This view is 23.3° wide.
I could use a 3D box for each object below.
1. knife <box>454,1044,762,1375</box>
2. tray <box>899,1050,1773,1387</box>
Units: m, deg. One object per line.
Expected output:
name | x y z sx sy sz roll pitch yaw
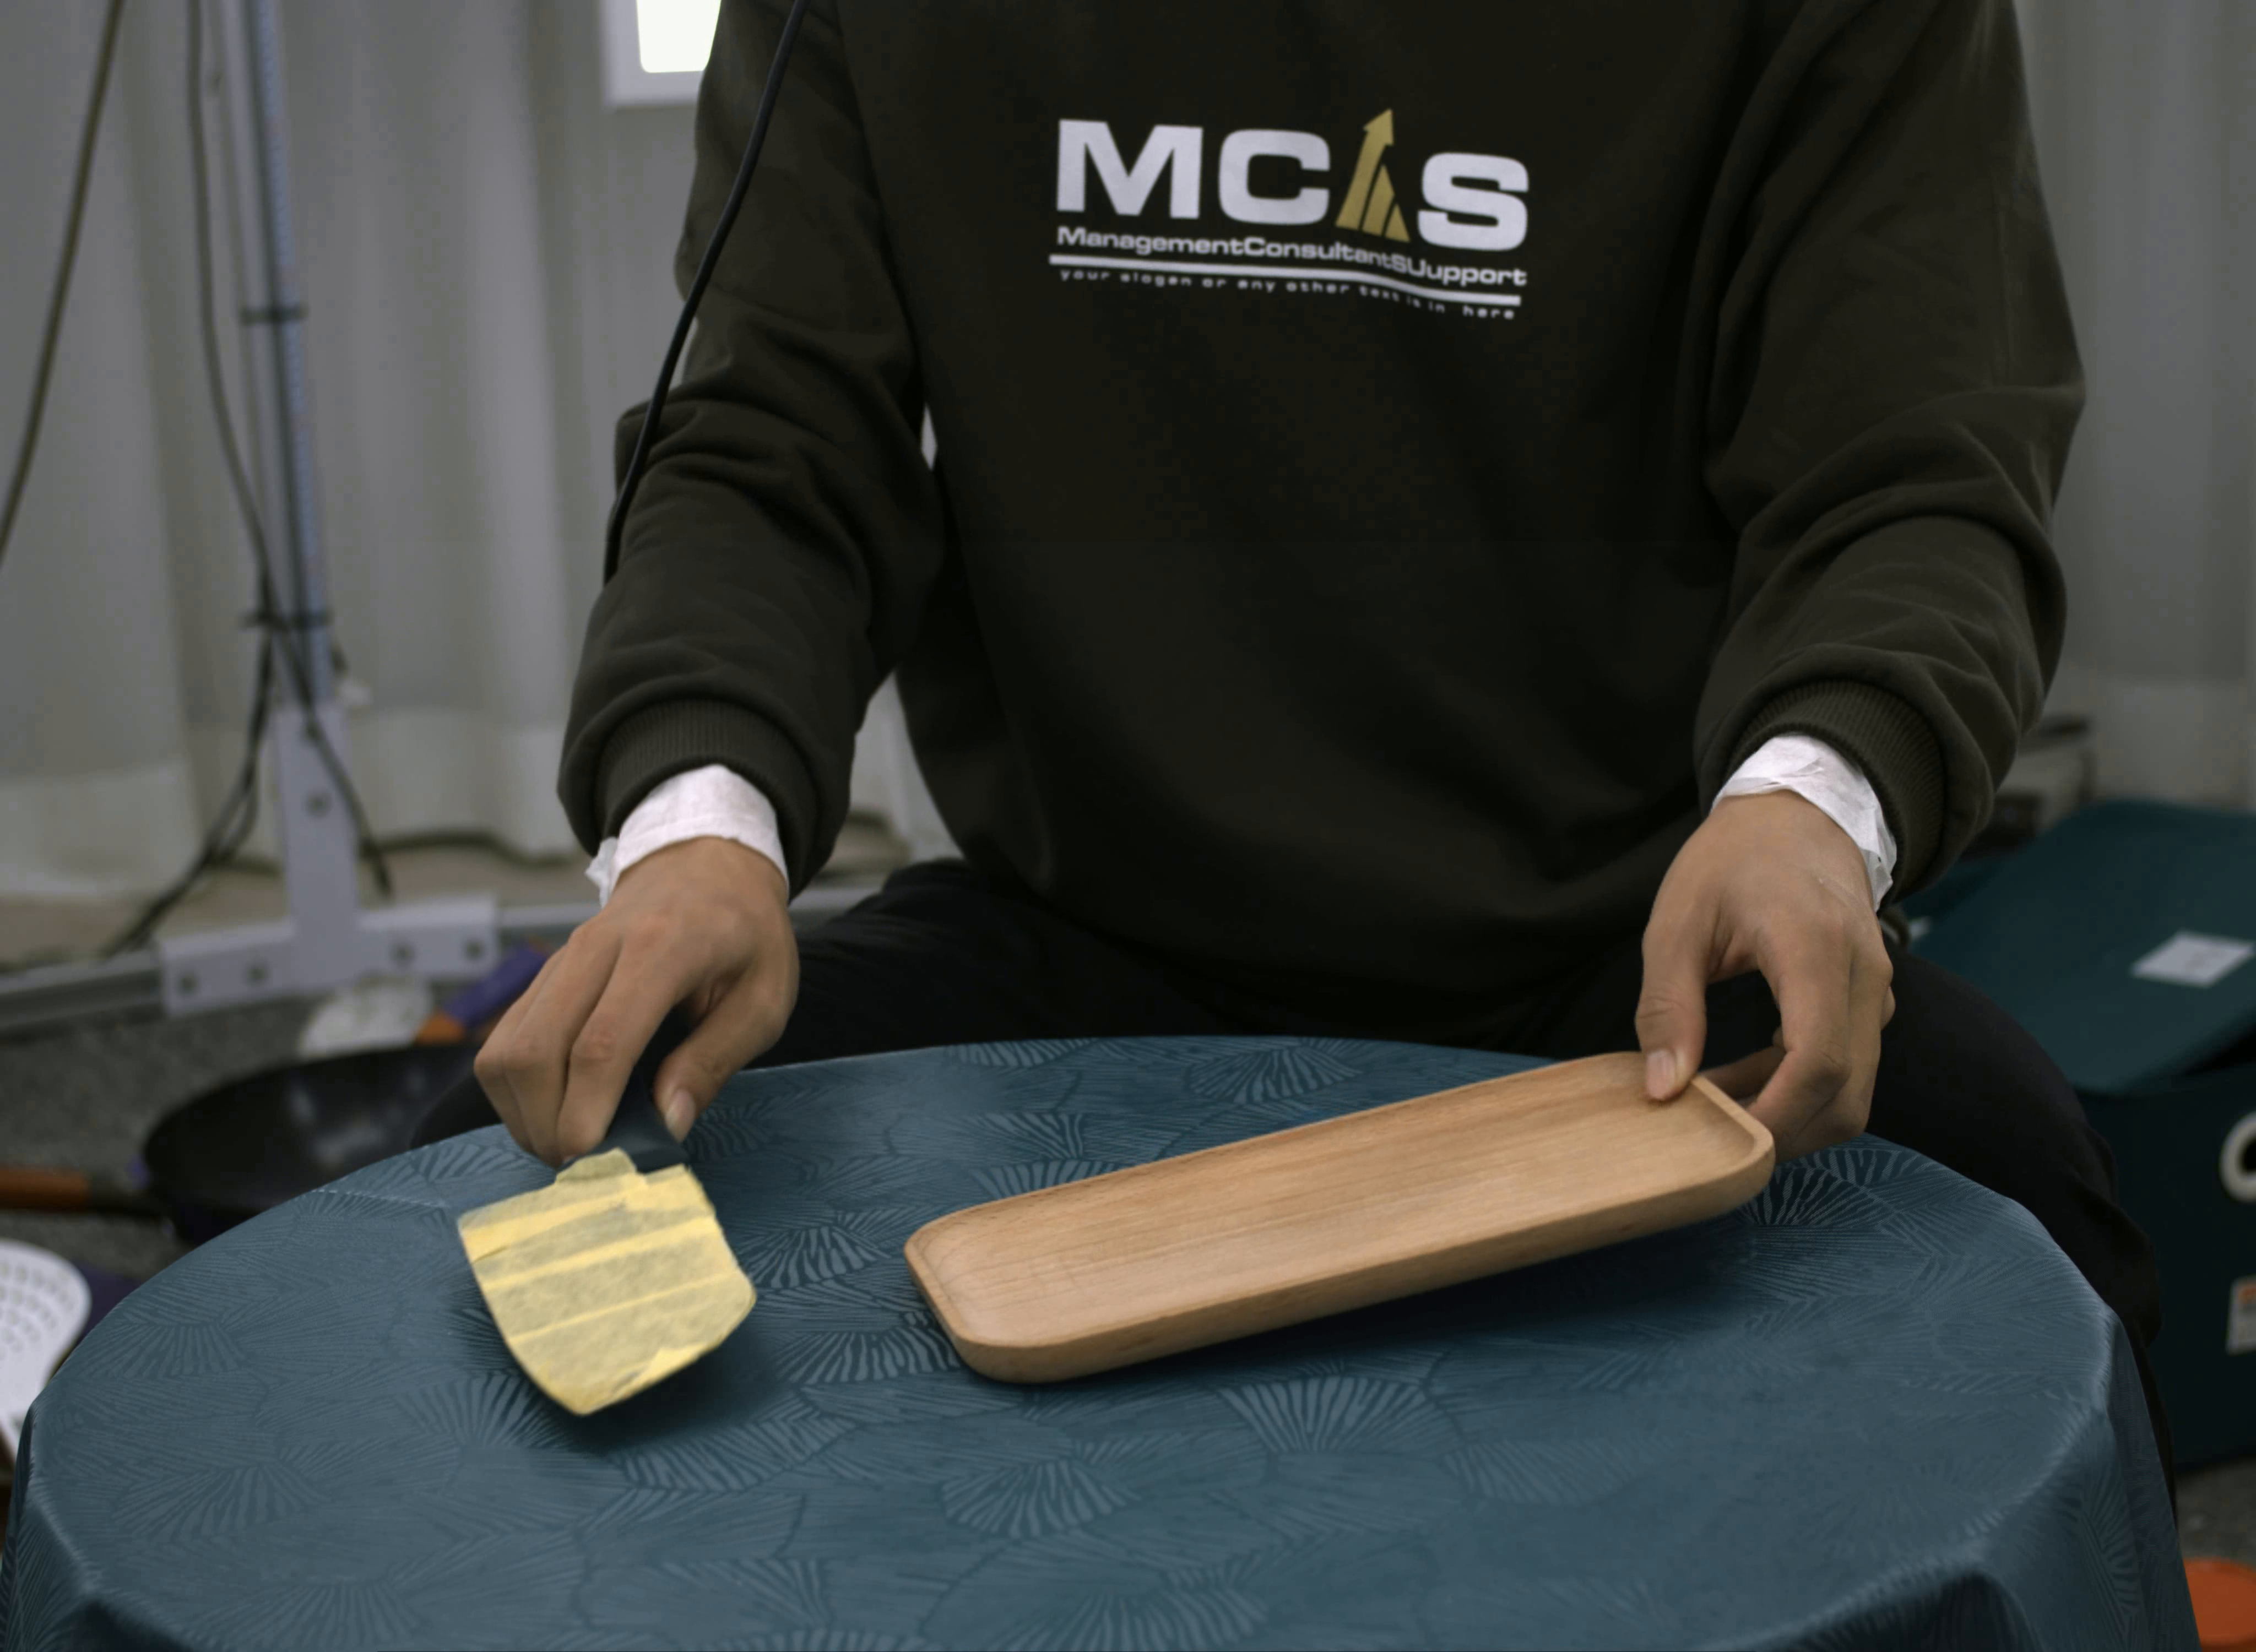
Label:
knife | -0.163 0.117 1.657 0.081 0.027 0.292 -13 16 -8
tray | 0.061 0.115 1.617 0.250 0.023 0.131 -14 14 -11
